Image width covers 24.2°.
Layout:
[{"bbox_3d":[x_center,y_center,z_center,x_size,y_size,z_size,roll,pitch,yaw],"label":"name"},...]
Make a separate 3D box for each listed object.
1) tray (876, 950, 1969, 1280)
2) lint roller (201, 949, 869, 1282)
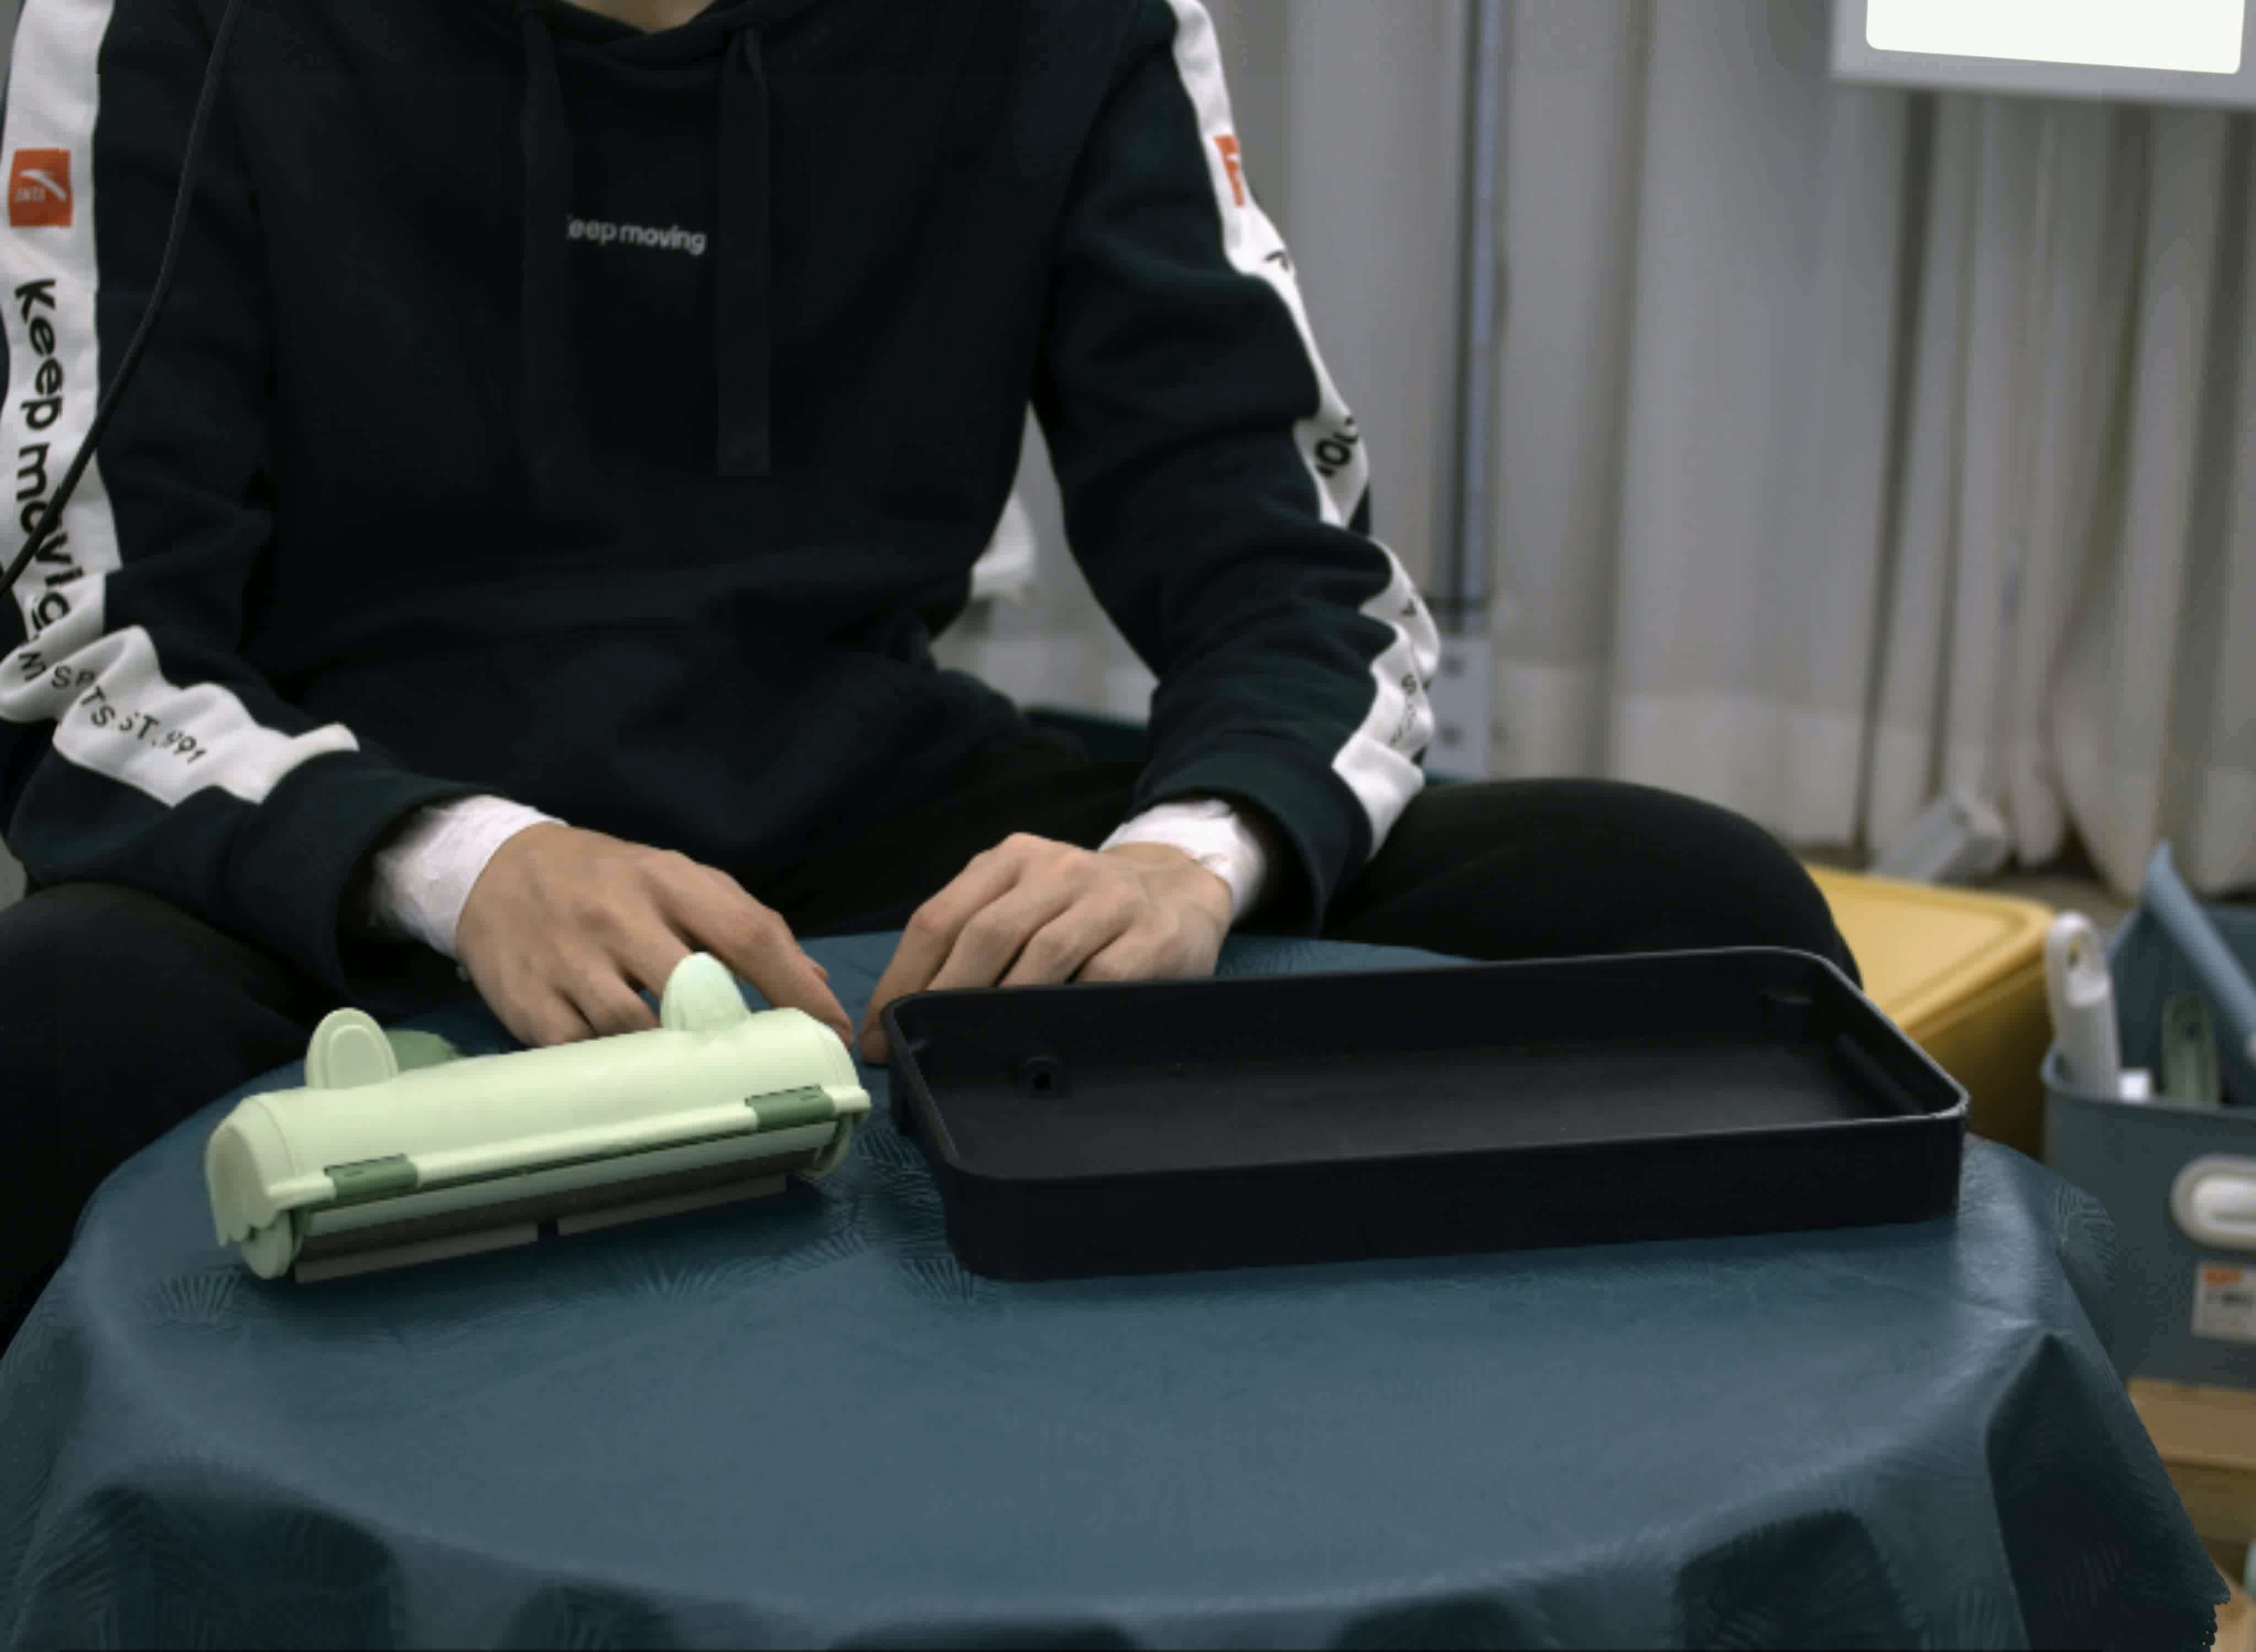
[{"bbox_3d":[0.087,0.087,1.646,0.318,0.037,0.182,-3,16,-11],"label":"tray"},{"bbox_3d":[-0.204,0.071,1.611,0.199,0.083,0.181,-9,21,-29],"label":"lint roller"}]
